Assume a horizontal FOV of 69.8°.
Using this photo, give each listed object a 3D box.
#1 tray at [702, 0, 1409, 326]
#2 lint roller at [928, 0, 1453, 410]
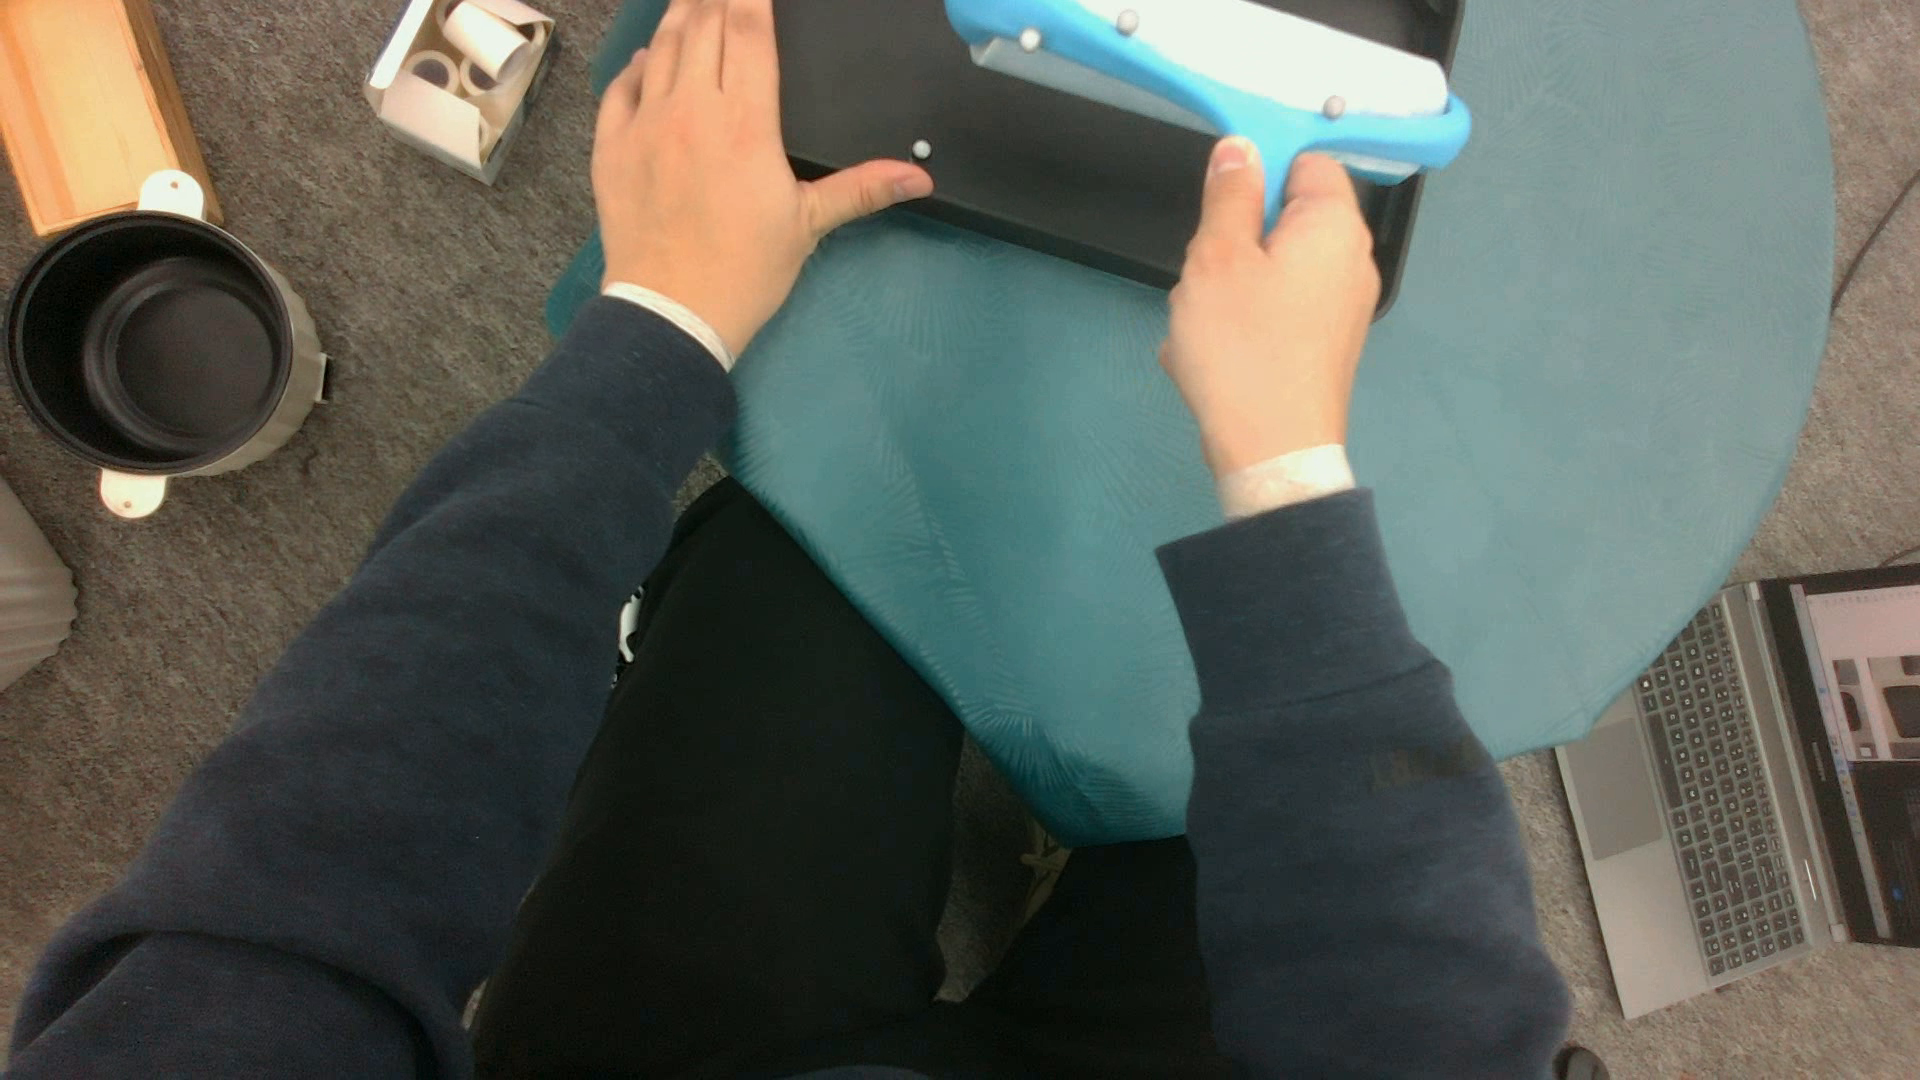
[{"bbox_3d":[0.050,-0.220,0.648,0.318,0.037,0.184,11,86,-12],"label":"tray"},{"bbox_3d":[0.102,-0.143,0.539,0.229,0.067,0.181,5,63,-21],"label":"lint roller"}]
